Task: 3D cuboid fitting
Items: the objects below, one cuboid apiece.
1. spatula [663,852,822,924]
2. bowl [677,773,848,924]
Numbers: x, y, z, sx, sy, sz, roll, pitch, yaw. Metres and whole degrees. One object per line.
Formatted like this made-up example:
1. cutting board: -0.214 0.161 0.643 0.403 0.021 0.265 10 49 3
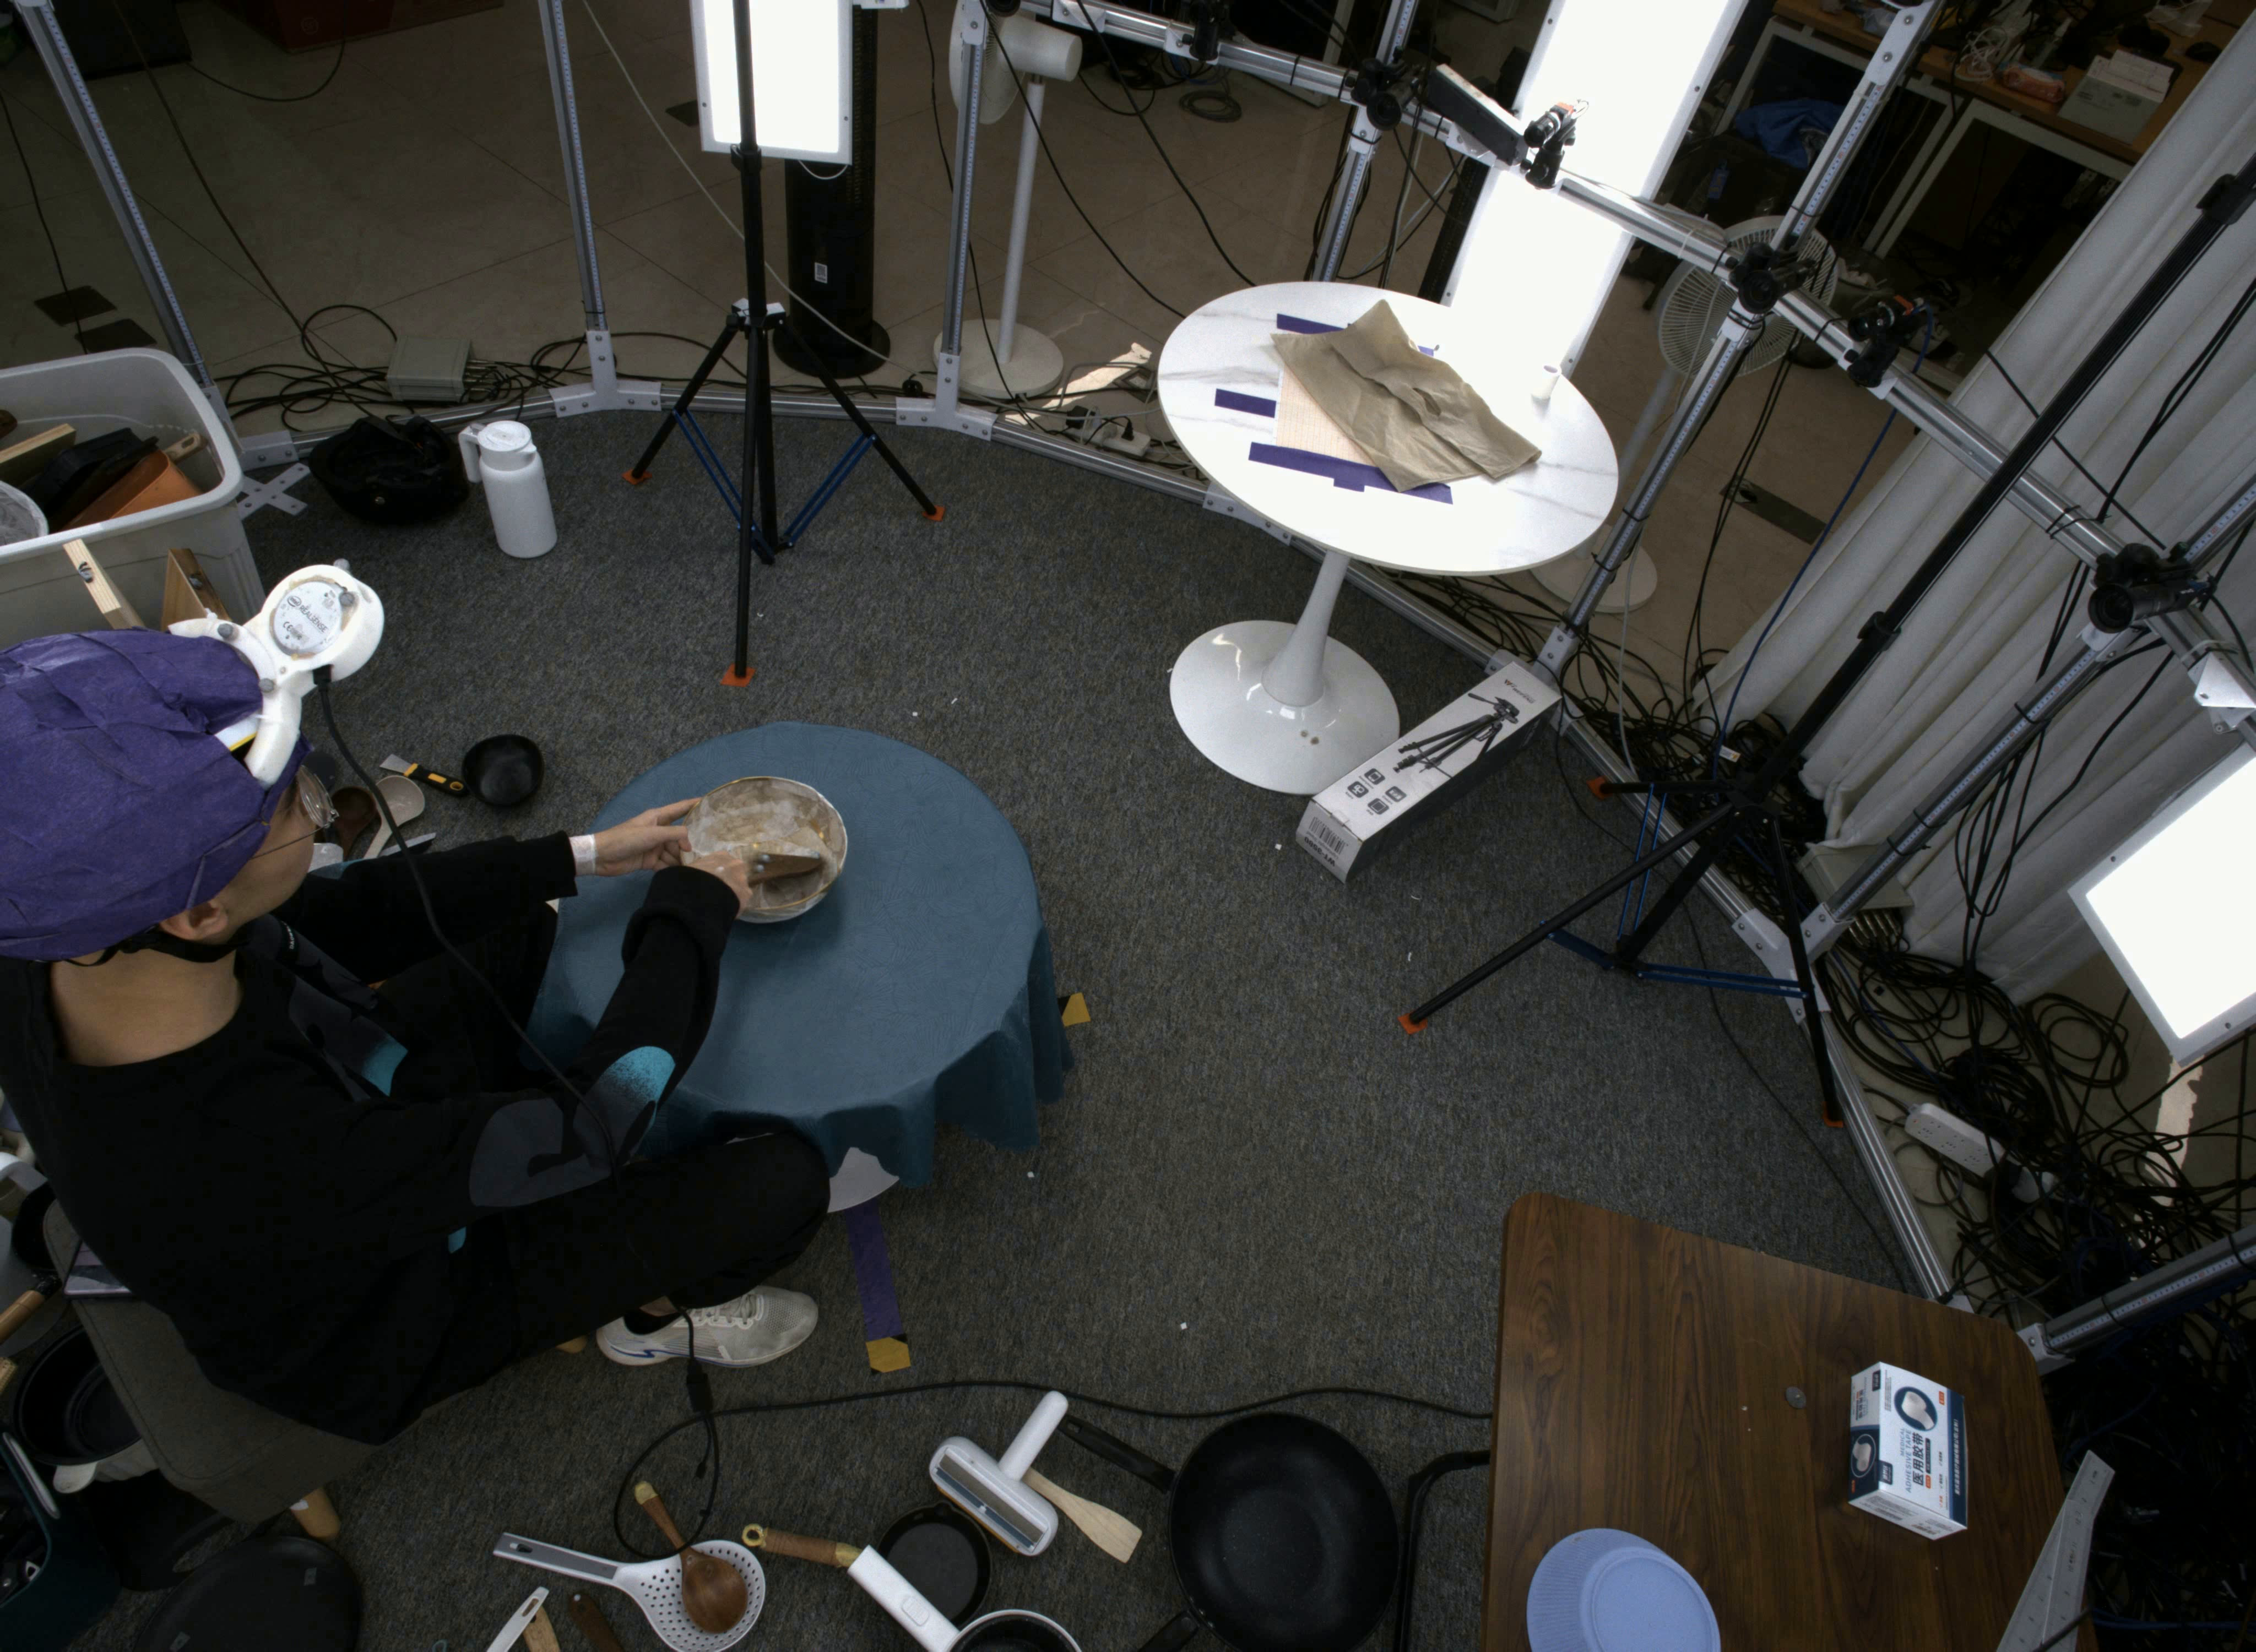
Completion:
1. spatula: -0.451 0.065 1.496 0.095 0.016 0.384 6 8 3
2. bowl: -0.460 0.041 1.627 0.215 0.096 0.211 9 57 -11
